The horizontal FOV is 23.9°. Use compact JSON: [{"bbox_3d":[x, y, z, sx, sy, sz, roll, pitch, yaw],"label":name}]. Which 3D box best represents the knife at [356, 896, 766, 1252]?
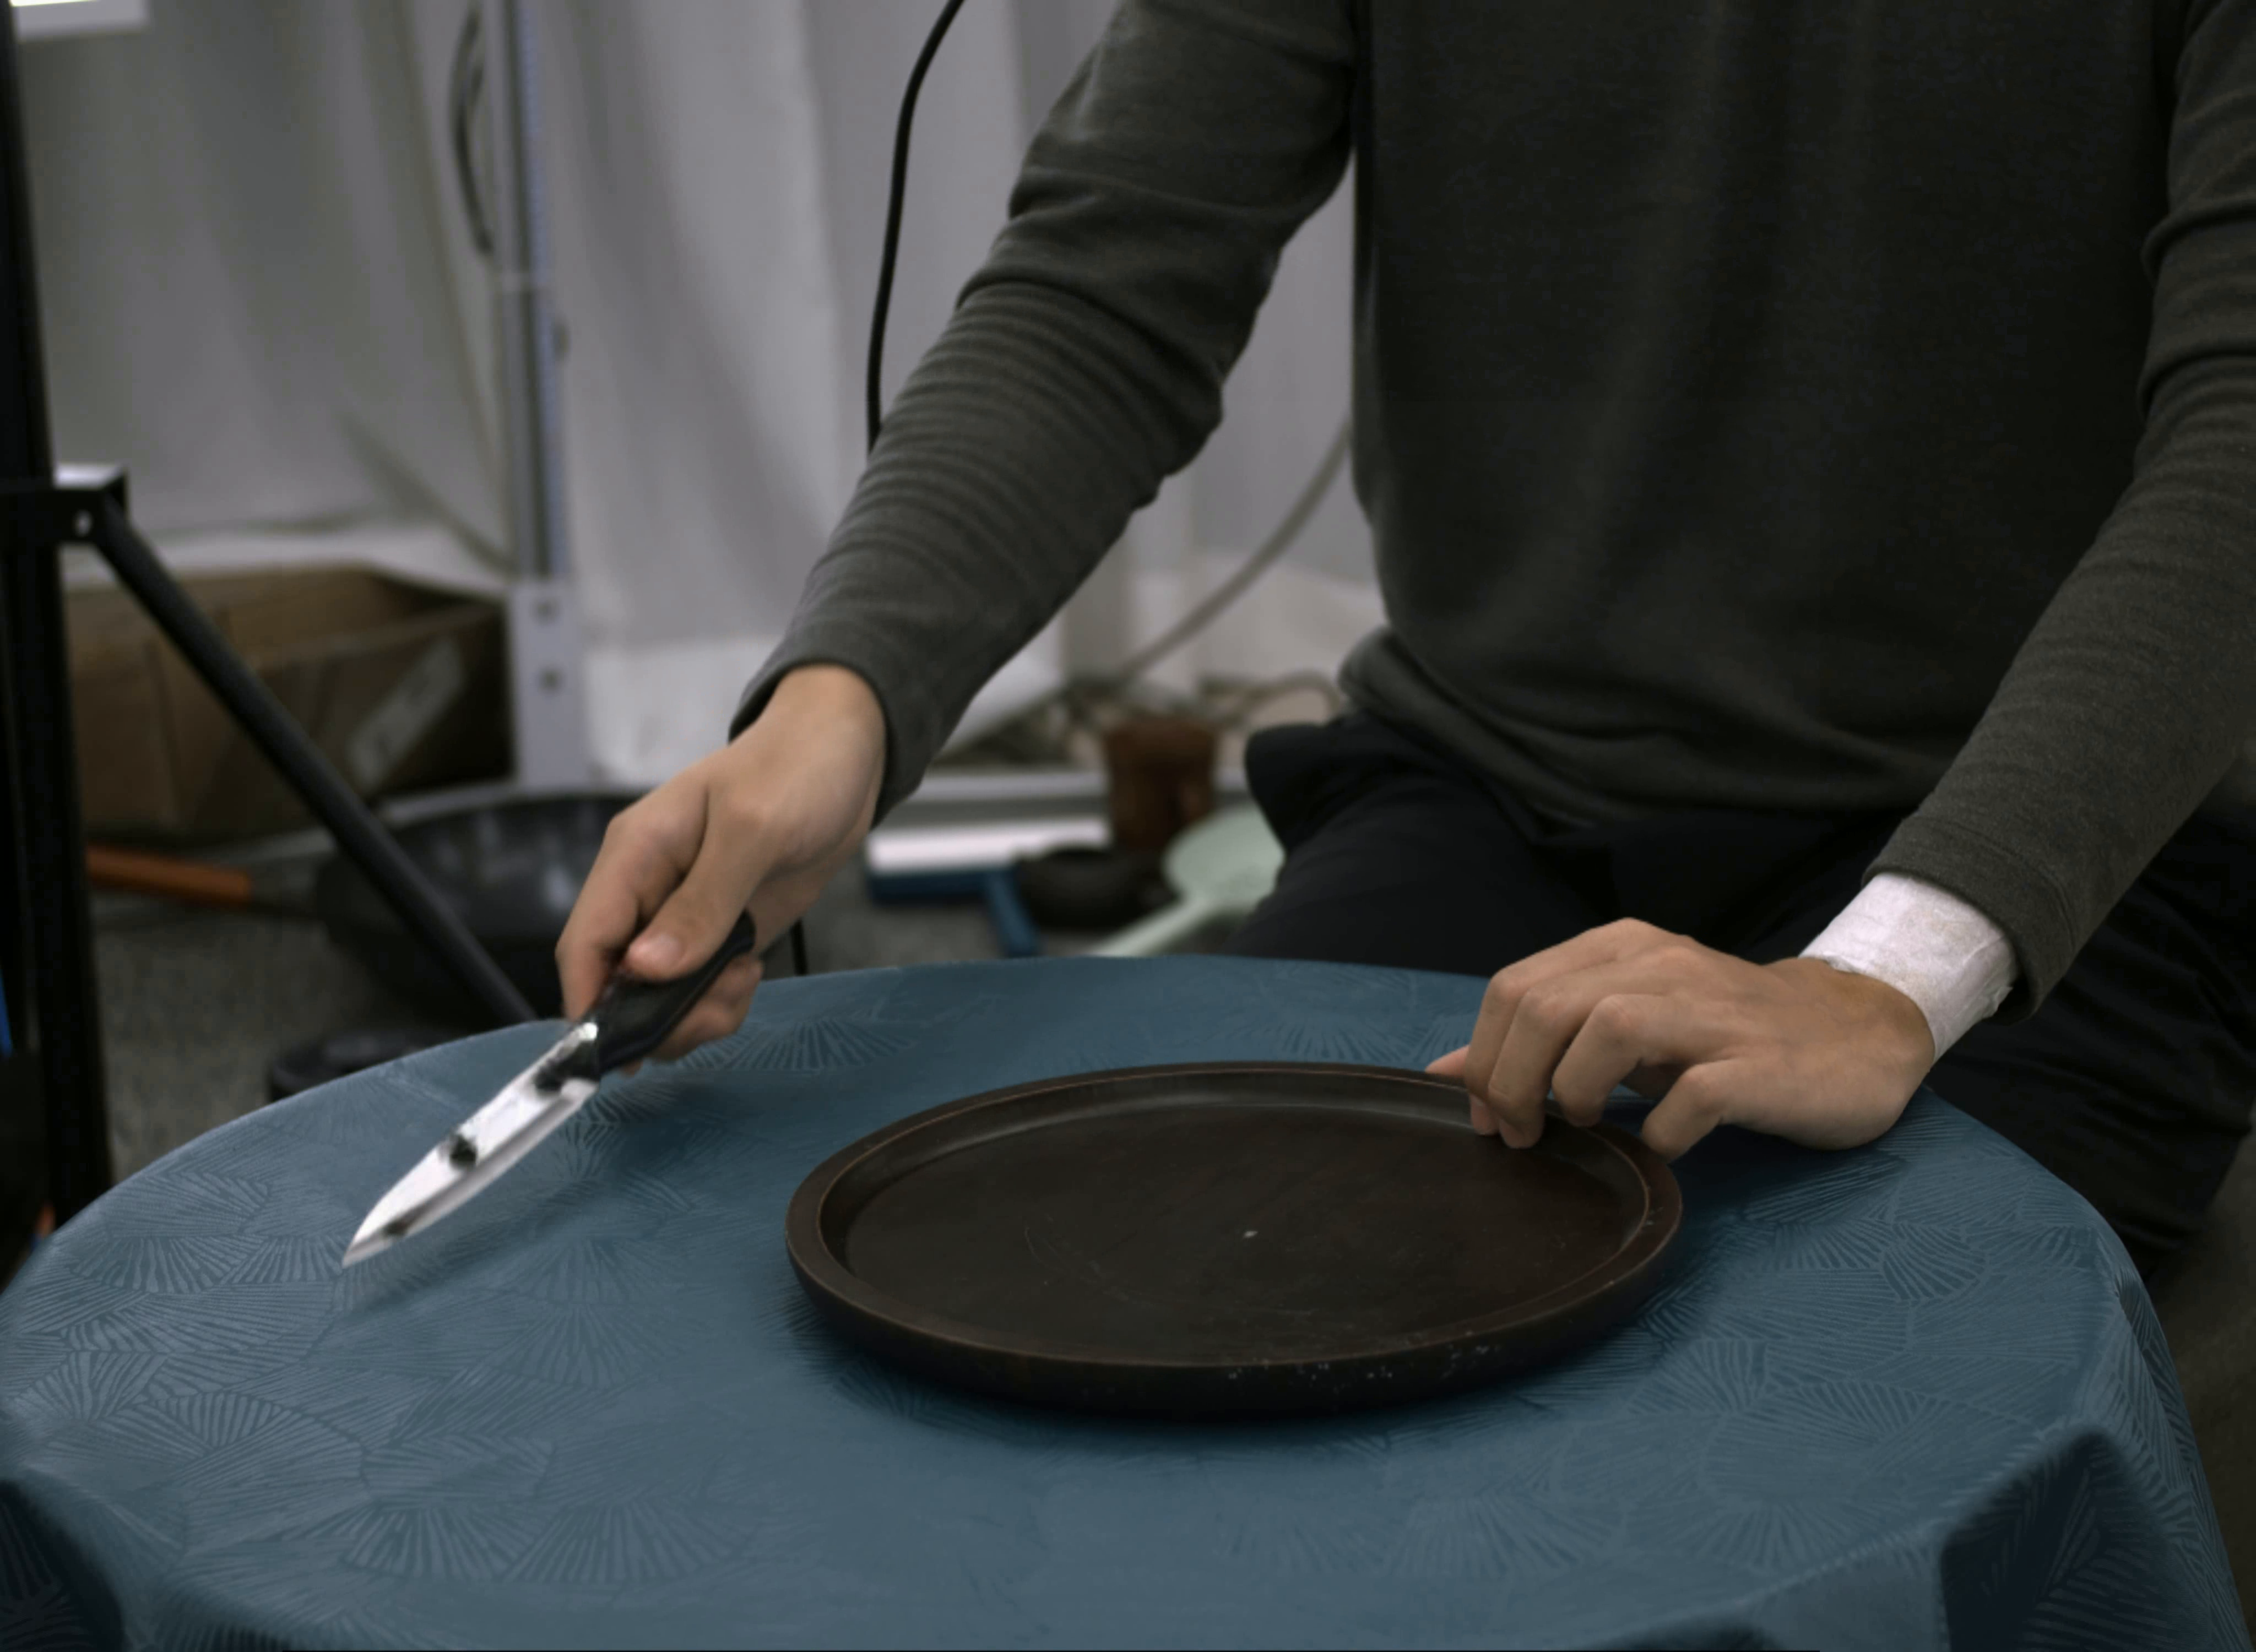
[{"bbox_3d":[-0.169,0.072,1.588,0.025,0.016,0.235,19,30,17],"label":"knife"}]

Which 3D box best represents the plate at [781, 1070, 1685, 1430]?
[{"bbox_3d":[0.029,0.116,1.490,0.253,0.029,0.256,-3,17,-1],"label":"plate"}]
